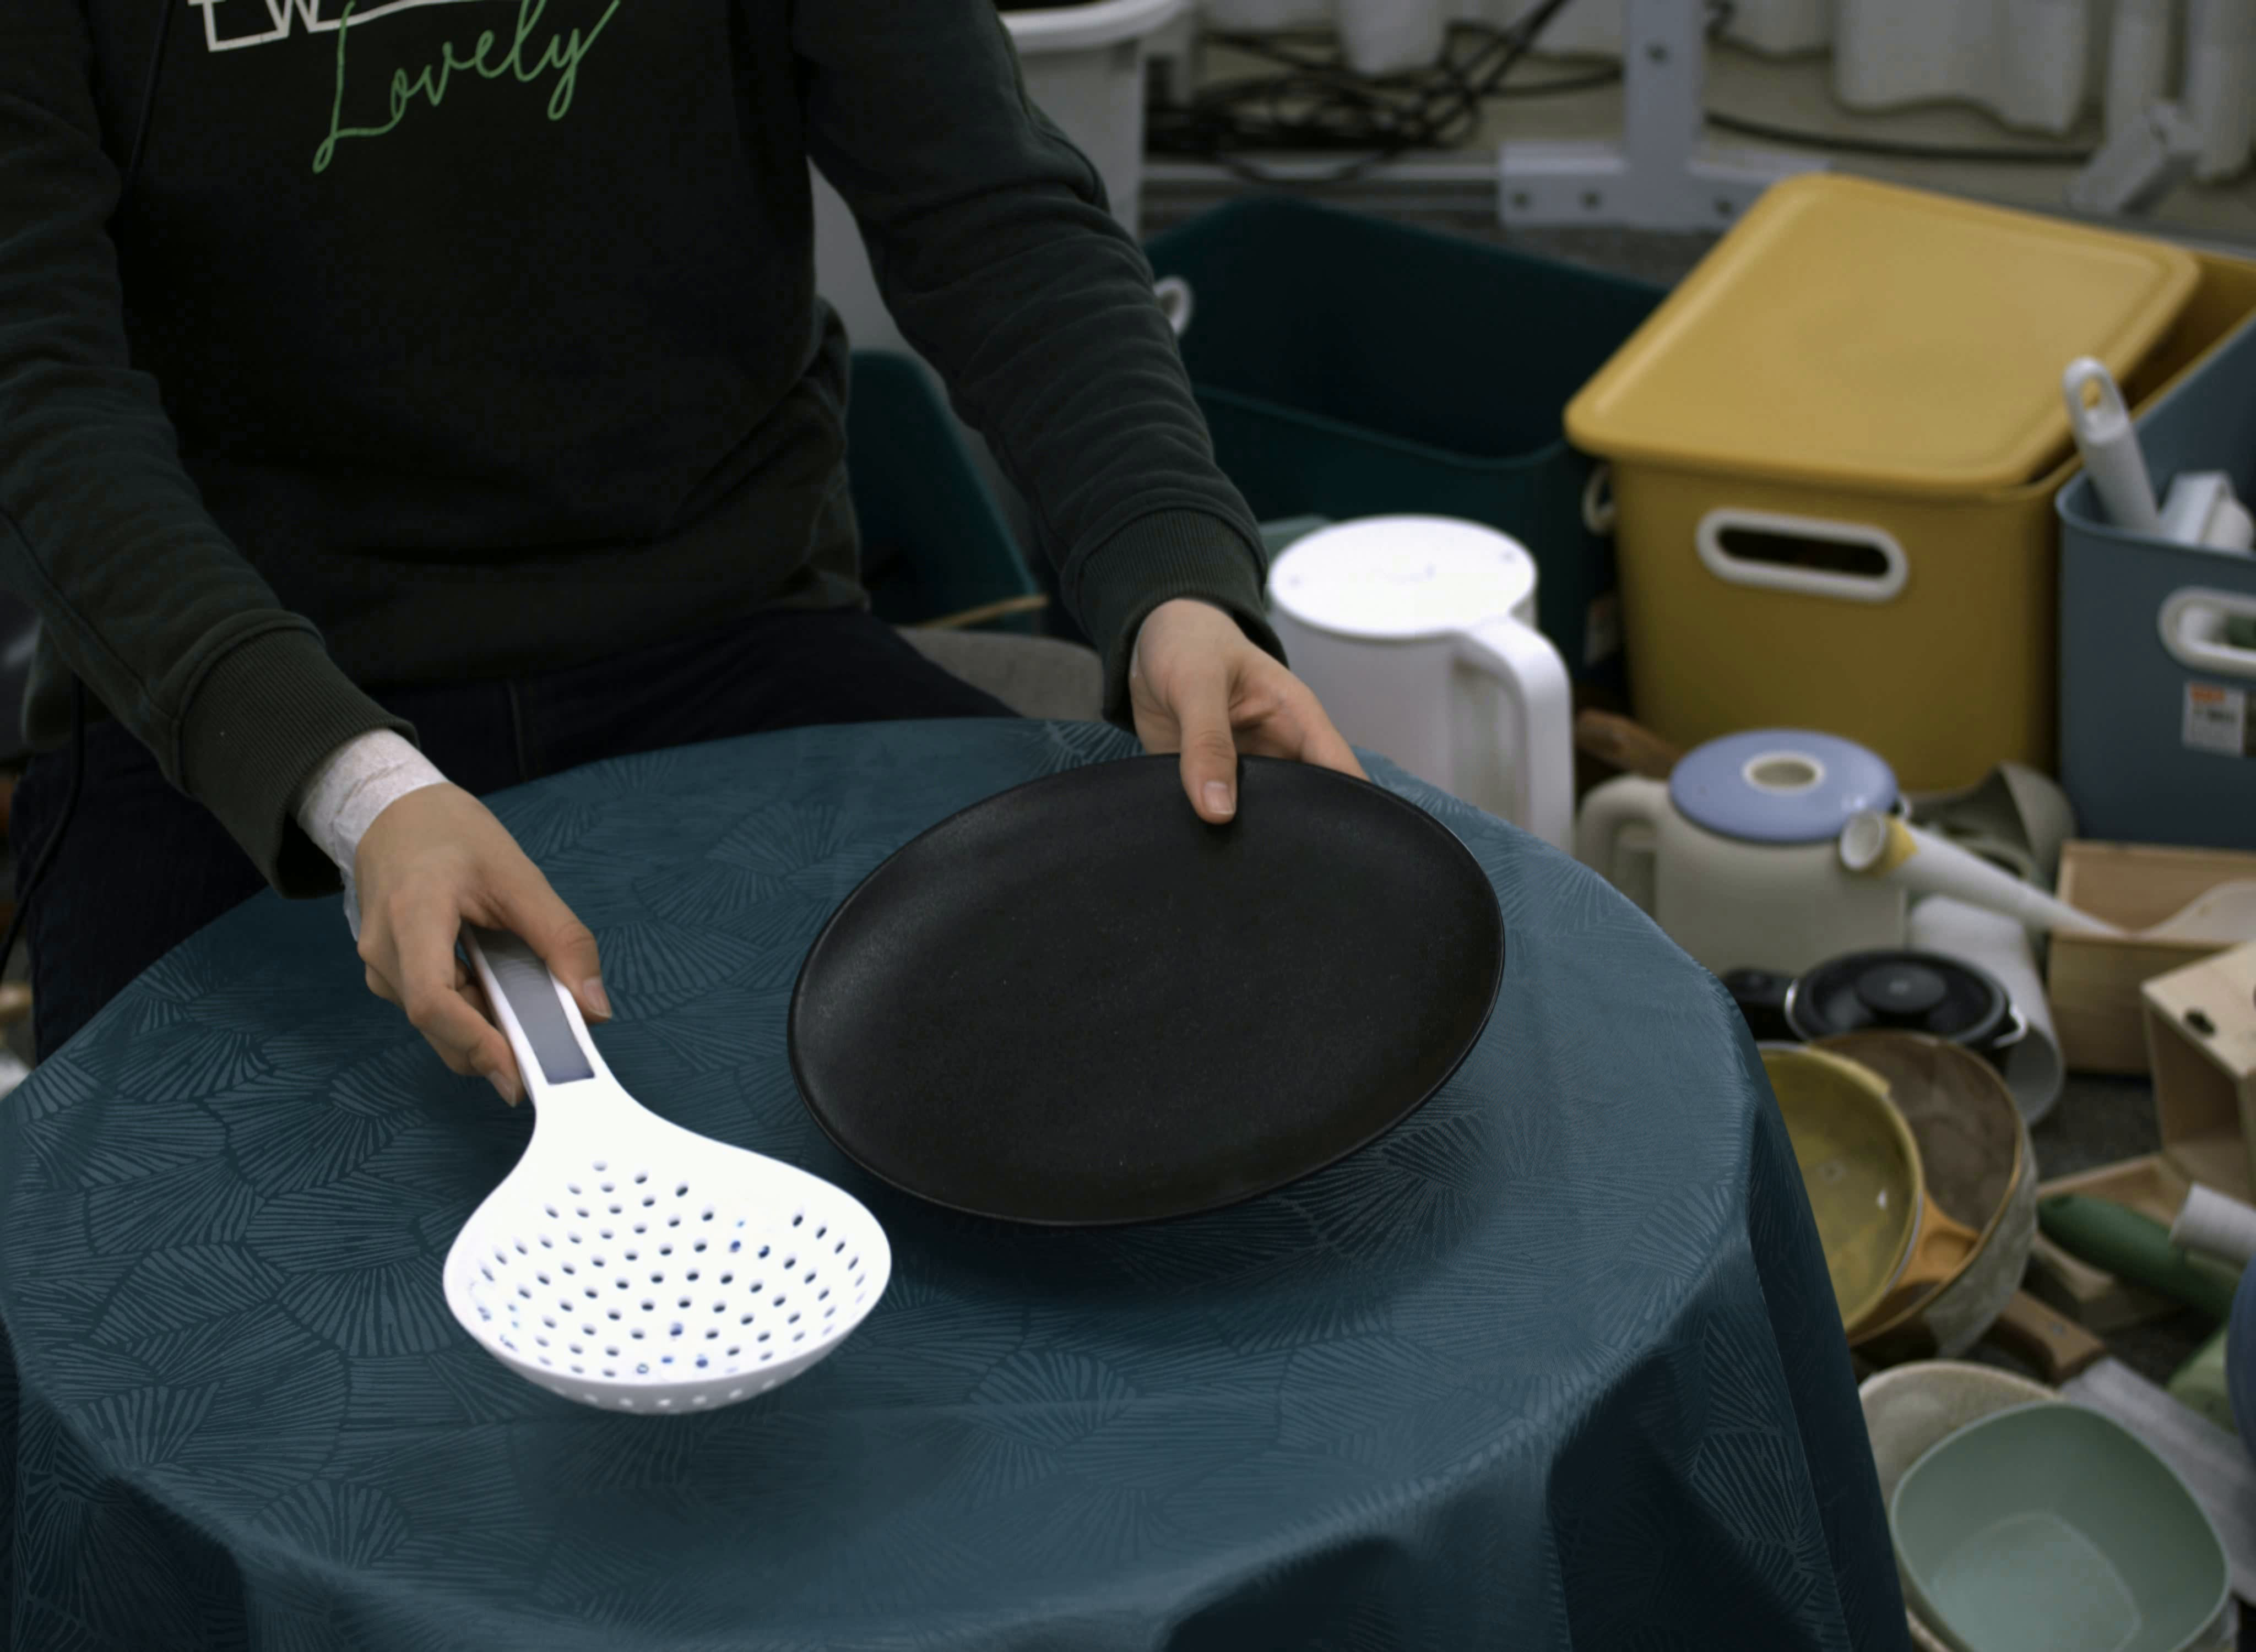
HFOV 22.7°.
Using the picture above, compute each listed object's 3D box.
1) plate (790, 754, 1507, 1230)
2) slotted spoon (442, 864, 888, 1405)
[{"bbox_3d":[0.008,0.057,1.881,0.243,0.023,0.249,-7,37,5],"label":"plate"},{"bbox_3d":[-0.174,0.093,1.807,0.136,0.045,0.353,-7,31,-17],"label":"slotted spoon"}]
